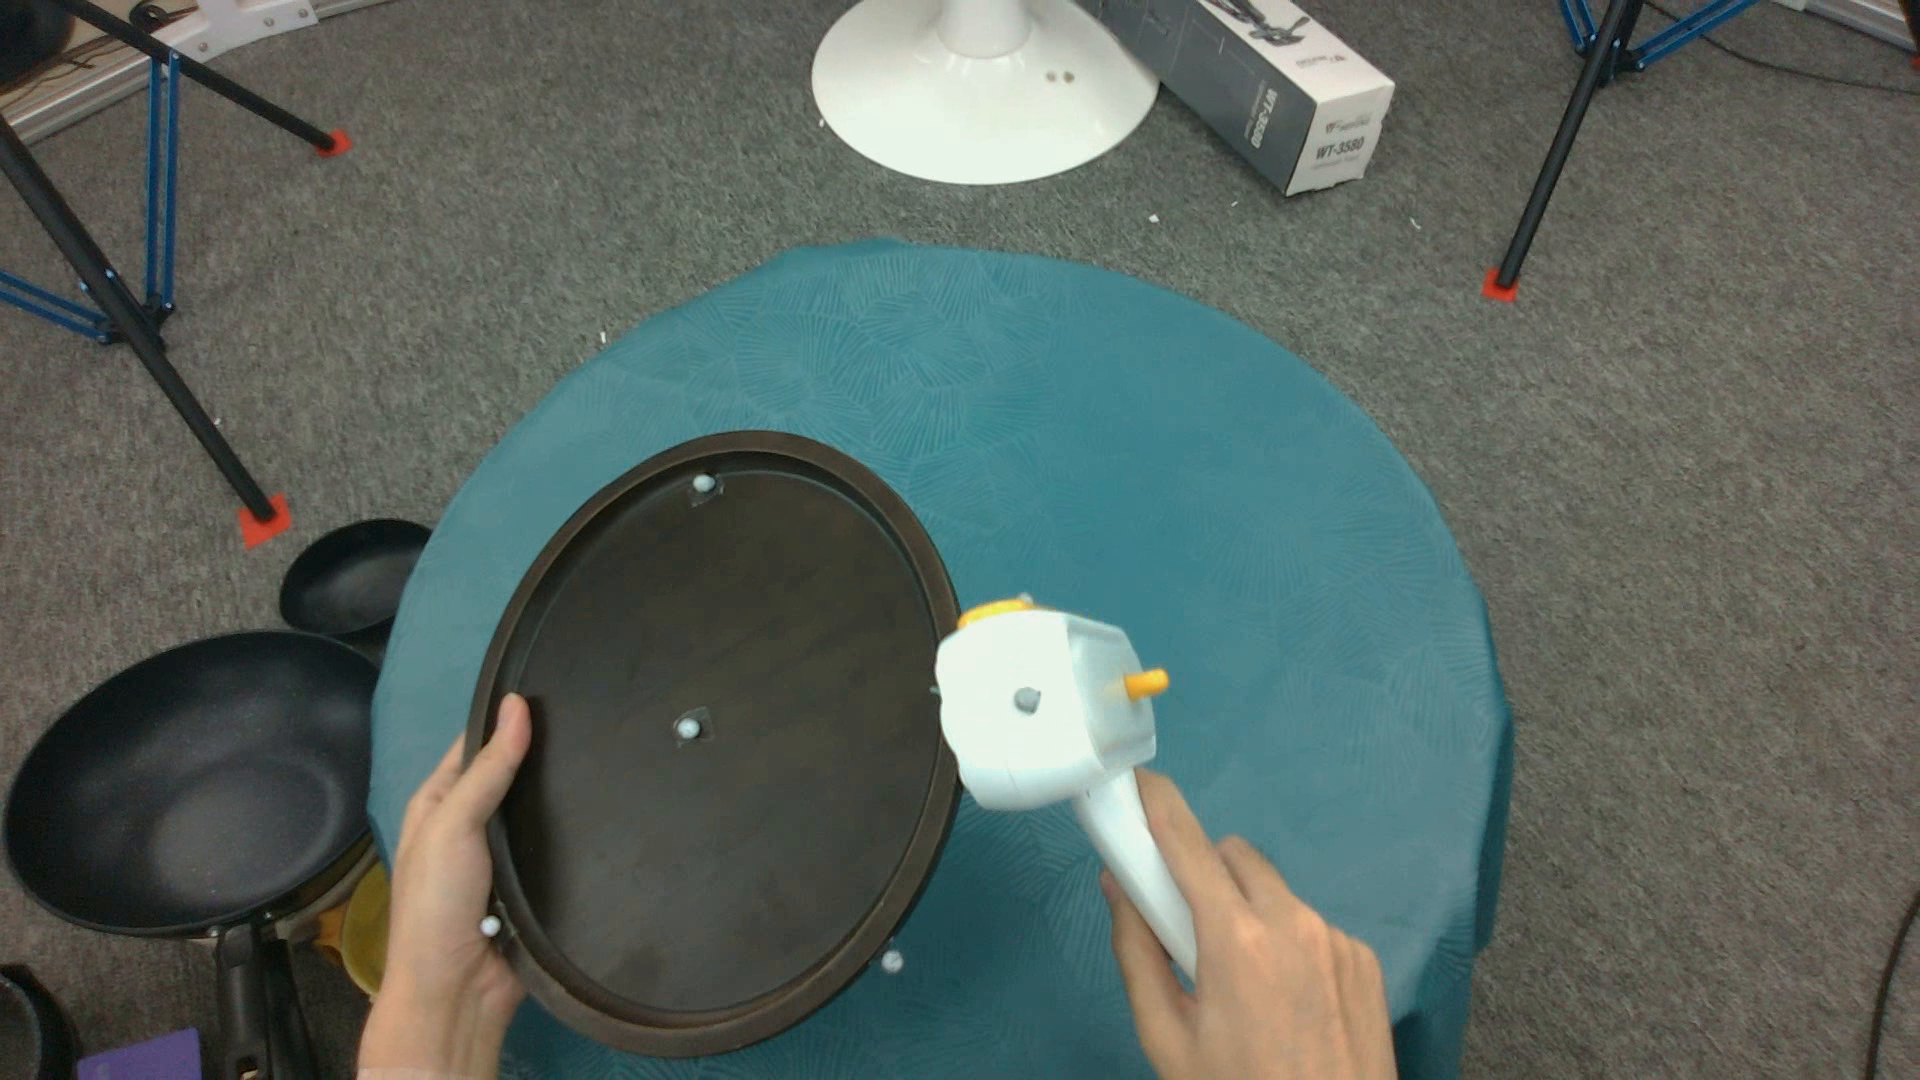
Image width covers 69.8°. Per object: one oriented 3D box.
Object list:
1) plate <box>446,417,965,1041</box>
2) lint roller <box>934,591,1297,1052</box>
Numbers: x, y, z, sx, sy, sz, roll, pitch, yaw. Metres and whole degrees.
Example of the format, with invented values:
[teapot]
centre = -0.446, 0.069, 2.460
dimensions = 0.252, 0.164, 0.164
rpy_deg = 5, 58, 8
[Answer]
[plate]
centre = -0.110, 0.071, 0.567
dimensions = 0.254, 0.029, 0.255
rpy_deg = -7, 73, 25
[lint roller]
centre = 0.062, 0.107, 0.522
dimensions = 0.074, 0.193, 0.192
rpy_deg = -24, 83, 6
